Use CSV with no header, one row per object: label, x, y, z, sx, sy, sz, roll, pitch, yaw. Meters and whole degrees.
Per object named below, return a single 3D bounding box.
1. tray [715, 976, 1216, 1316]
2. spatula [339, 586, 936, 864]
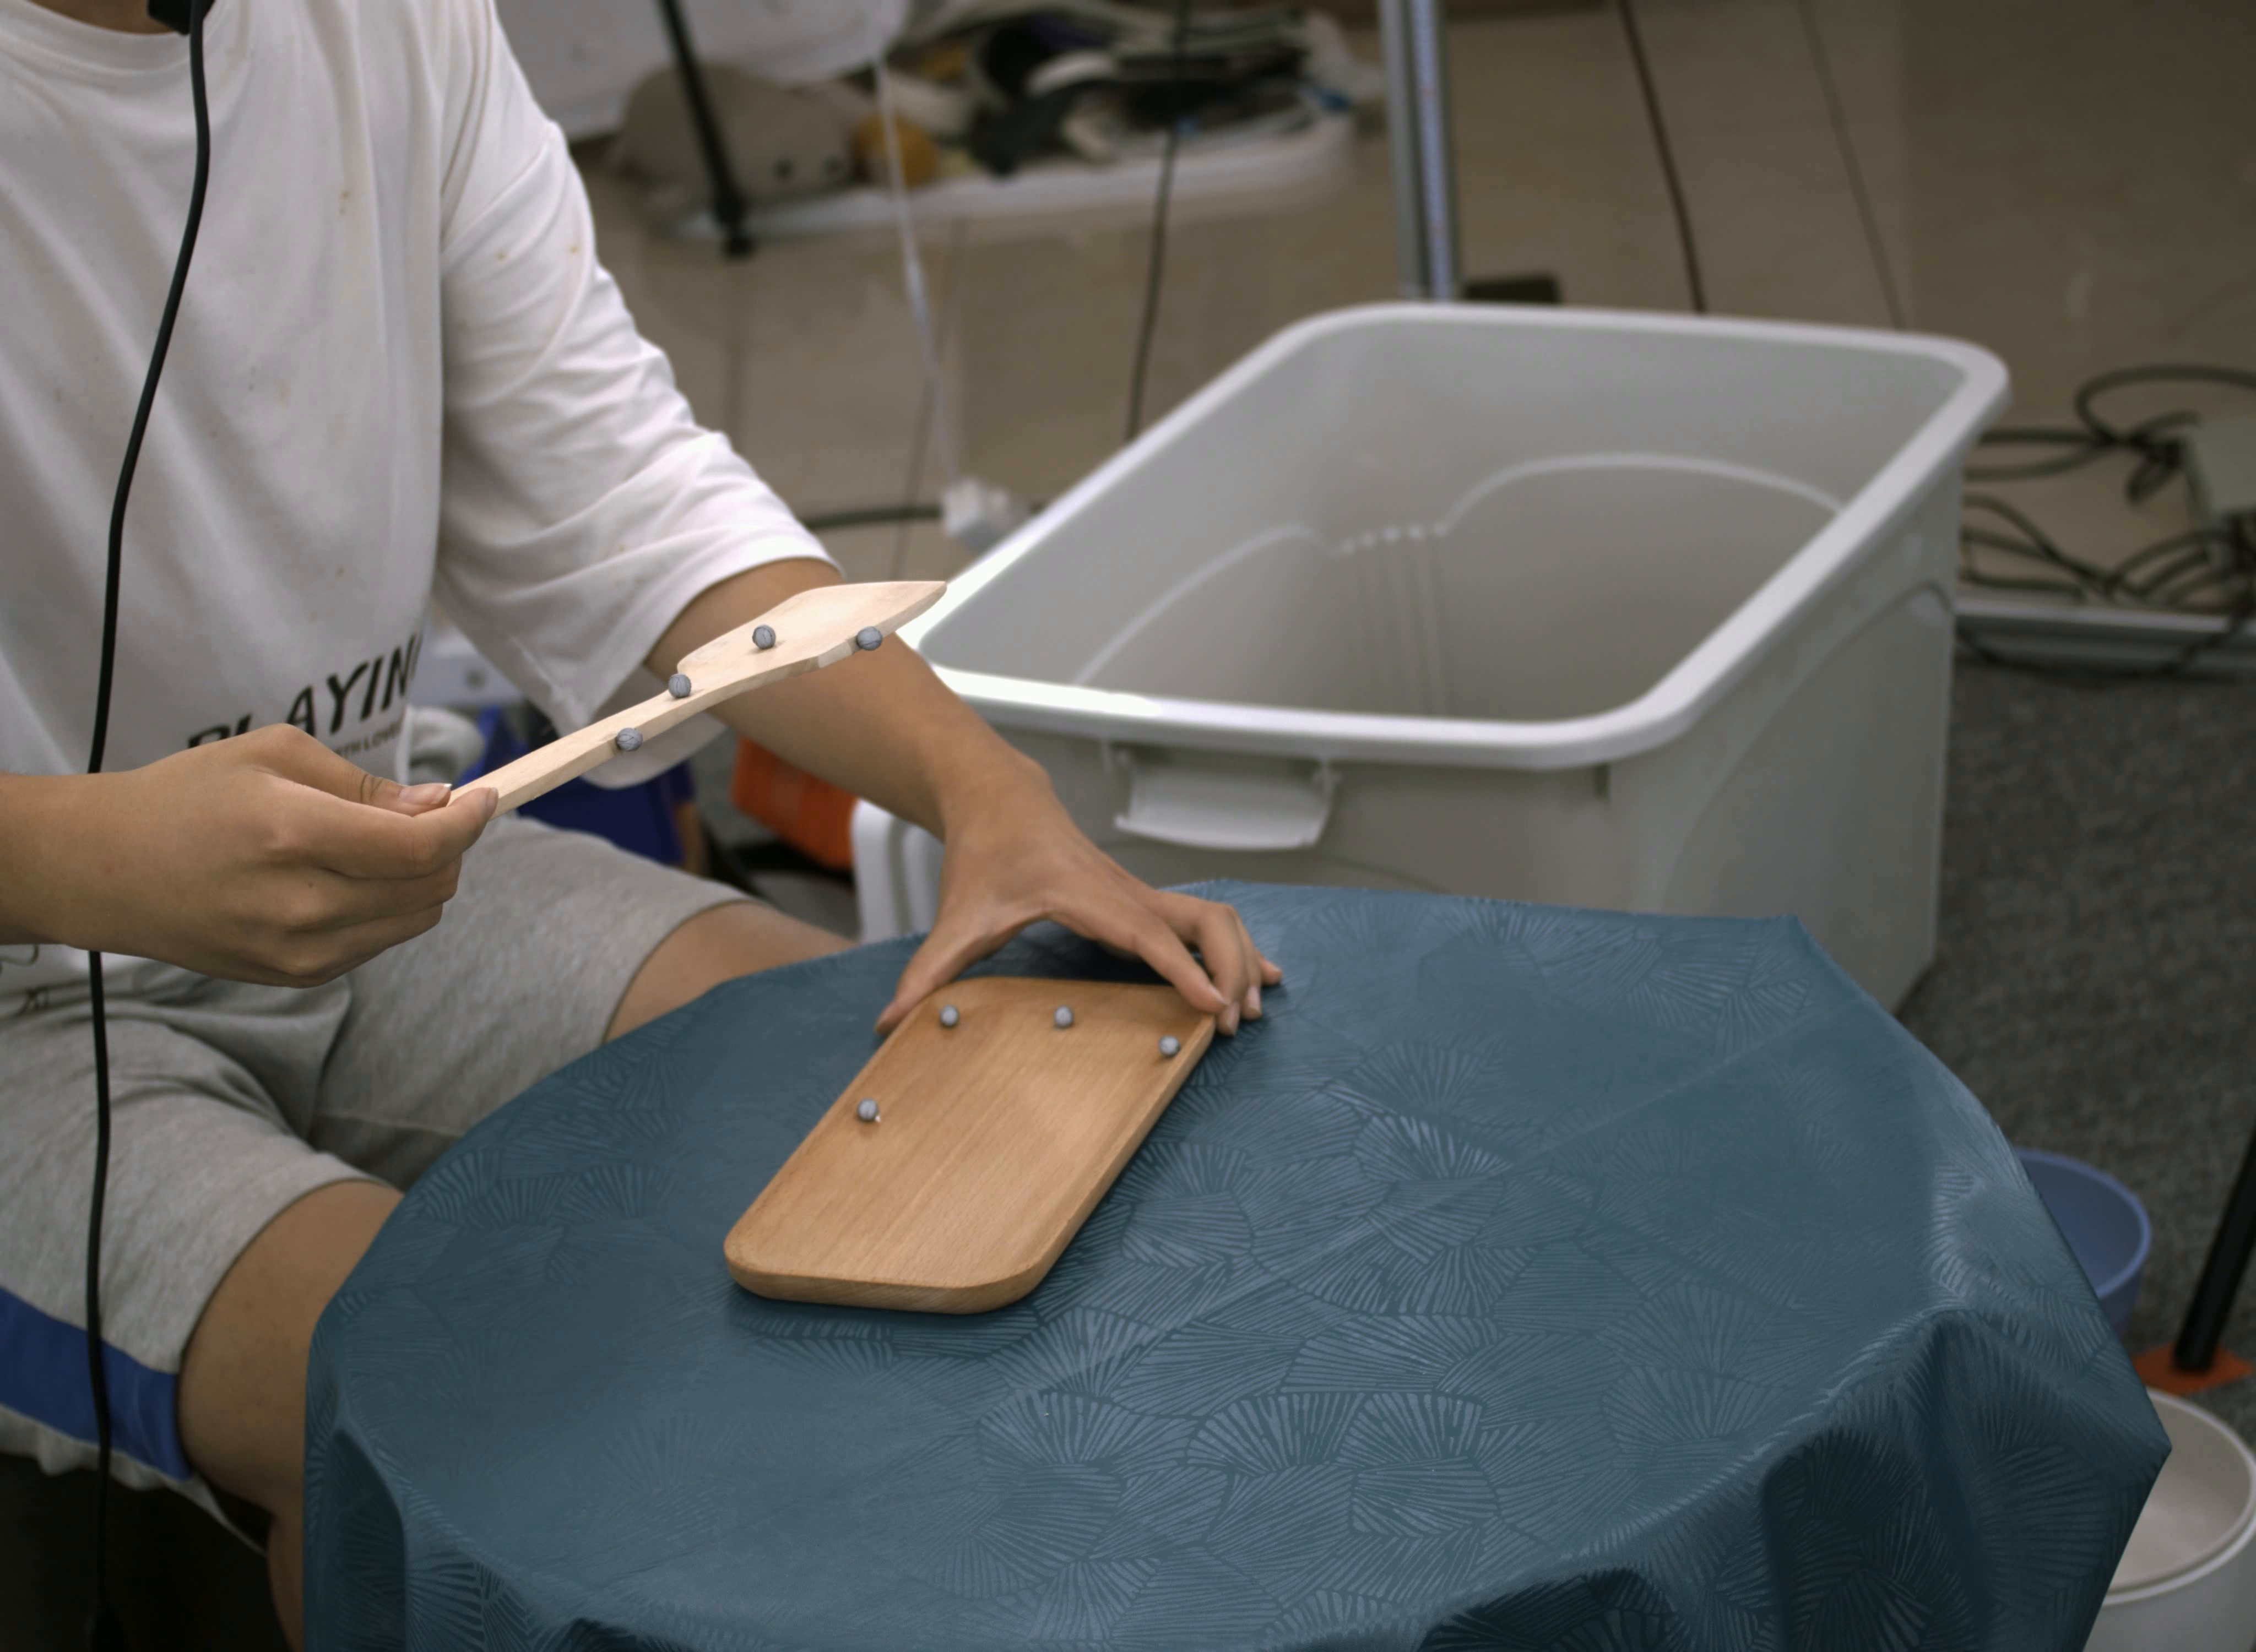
tray,-0.059,0.121,2.183,0.130,0.023,0.247,1,26,23
spatula,-0.173,-0.037,1.971,0.072,0.011,0.290,0,19,35
